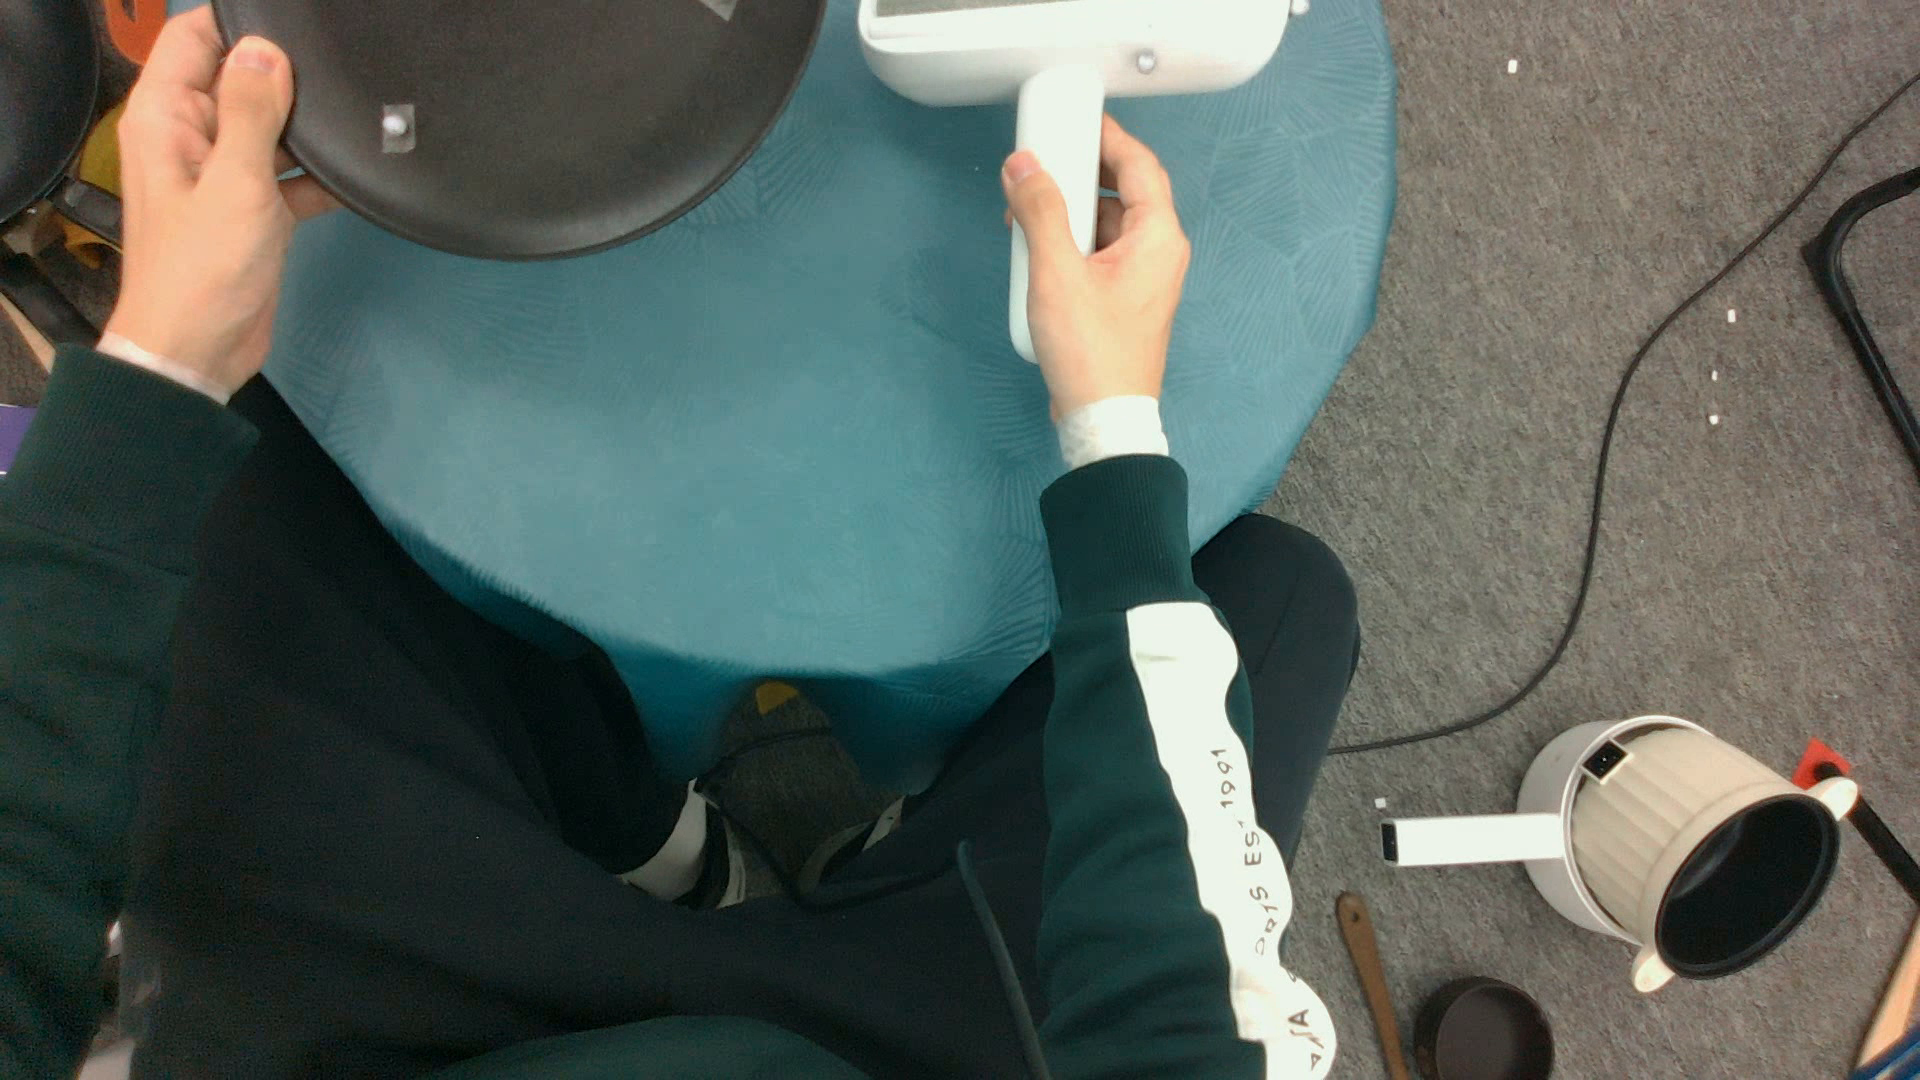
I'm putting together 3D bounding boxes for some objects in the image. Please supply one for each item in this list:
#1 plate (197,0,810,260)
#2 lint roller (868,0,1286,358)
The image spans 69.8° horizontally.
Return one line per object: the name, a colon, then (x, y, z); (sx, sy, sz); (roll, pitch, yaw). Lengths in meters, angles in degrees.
plate: (-0.172, -0.228, 0.521); (0.244, 0.023, 0.244); (1, 96, 5)
lint roller: (0.044, -0.181, 0.635); (0.192, 0.074, 0.192); (10, 96, 17)
